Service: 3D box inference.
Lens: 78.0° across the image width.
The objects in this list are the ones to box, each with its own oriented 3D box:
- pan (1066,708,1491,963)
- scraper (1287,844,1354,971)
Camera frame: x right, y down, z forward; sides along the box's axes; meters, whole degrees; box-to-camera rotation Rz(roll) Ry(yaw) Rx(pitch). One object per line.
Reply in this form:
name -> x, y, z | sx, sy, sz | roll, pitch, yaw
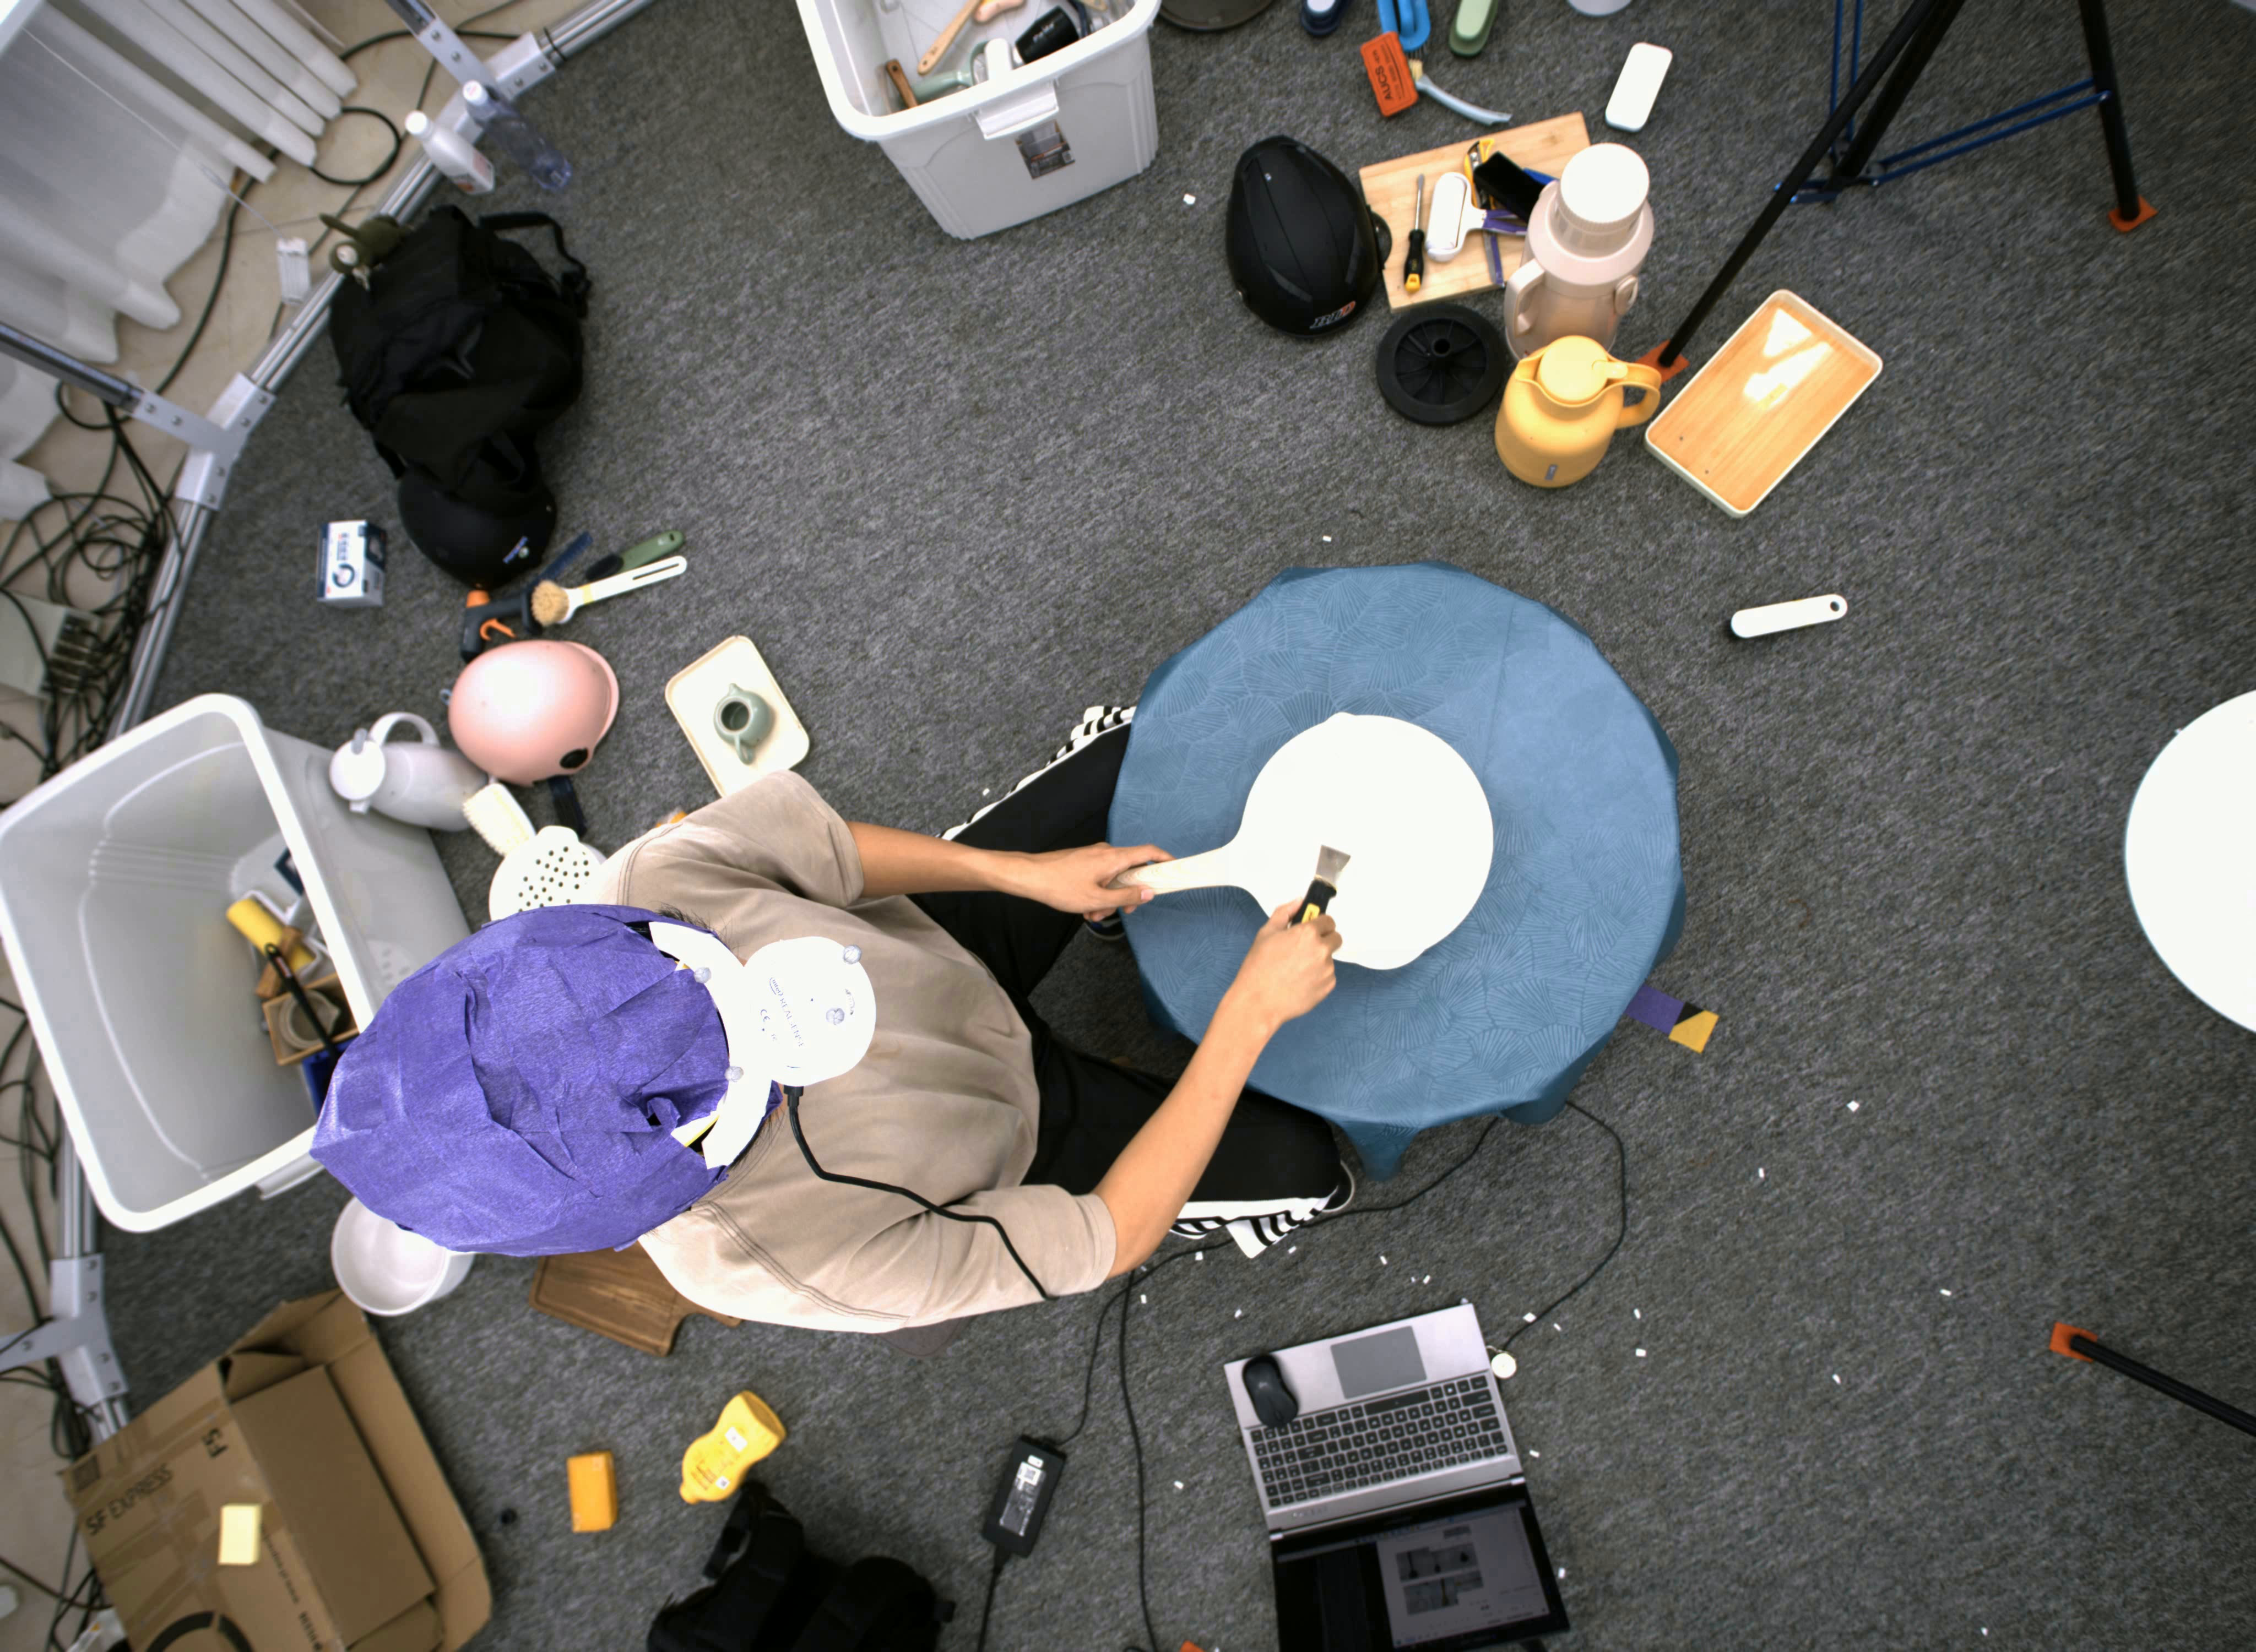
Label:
pan -> 0.154, 0.029, 1.438 | 0.437, 0.102, 0.262 | -12, 86, 10
scraper -> 0.190, 0.079, 1.373 | 0.039, 0.015, 0.166 | 23, 47, 4
